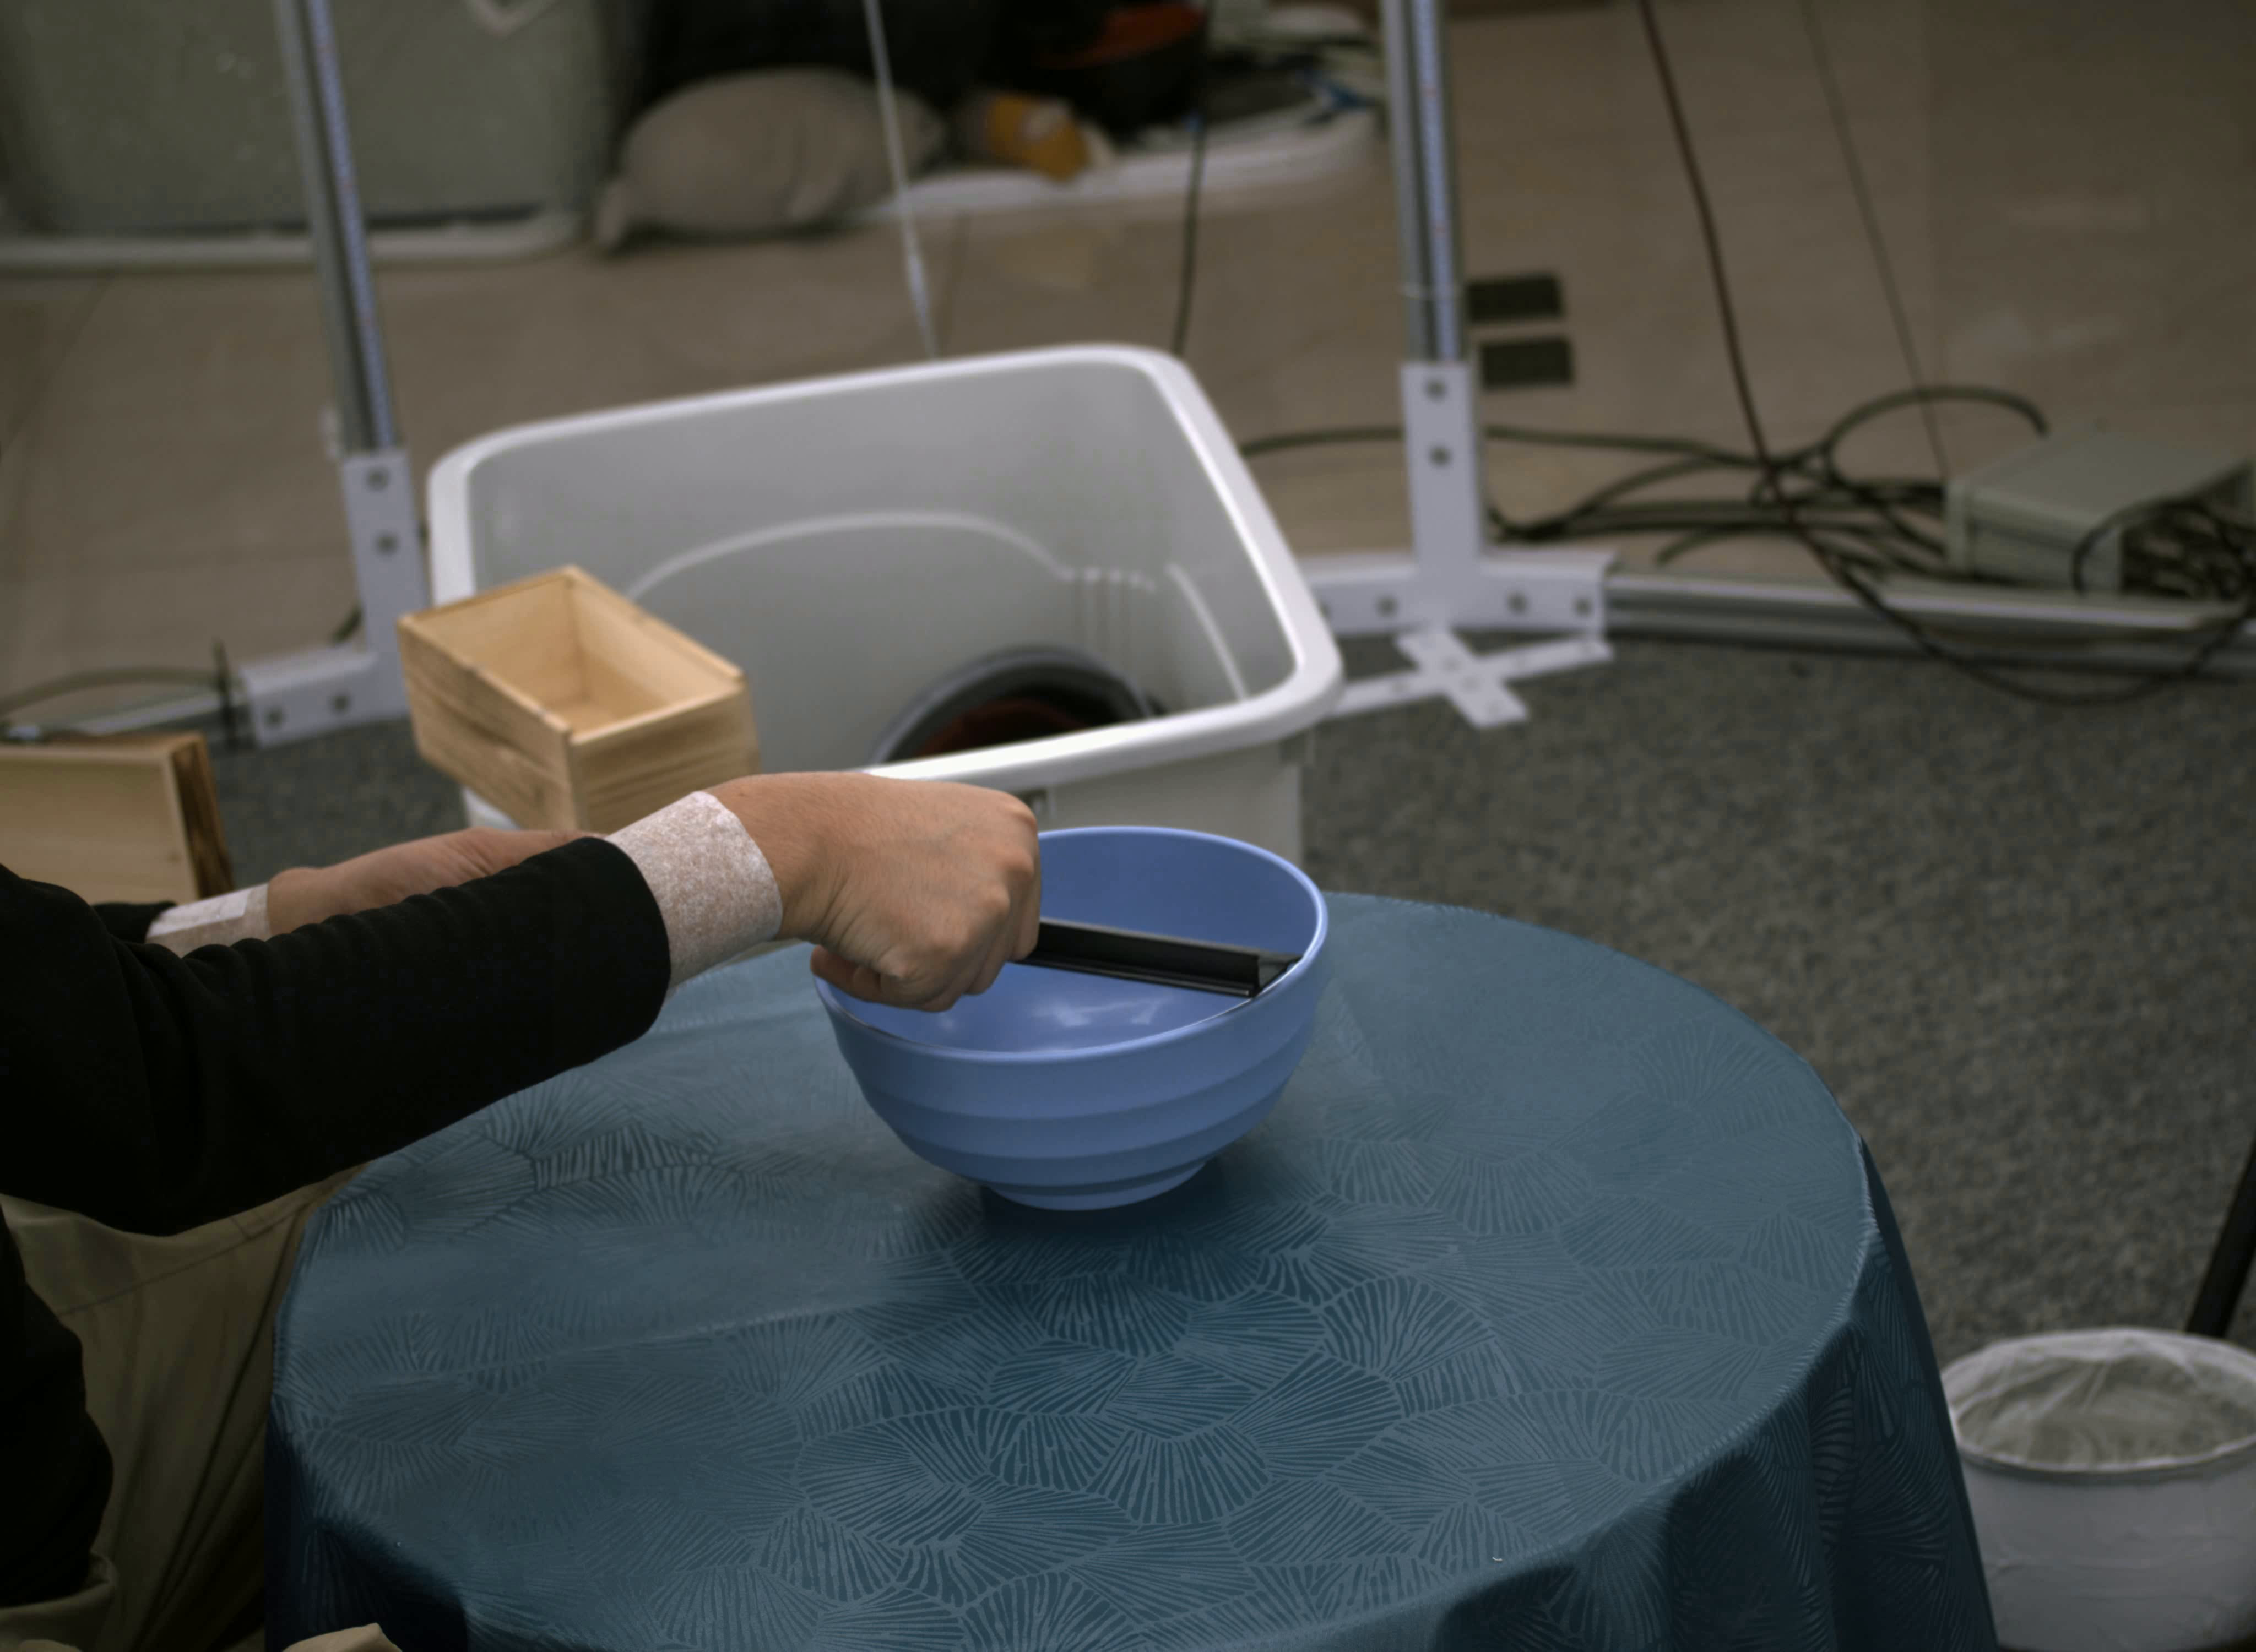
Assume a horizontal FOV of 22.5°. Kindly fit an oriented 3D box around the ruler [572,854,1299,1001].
[{"bbox_3d":[-0.077,0.032,2.140,0.311,0.017,0.039,8,23,31],"label":"ruler"}]

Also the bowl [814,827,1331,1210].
[{"bbox_3d":[-0.017,0.084,2.156,0.196,0.097,0.193,-5,25,2],"label":"bowl"}]
